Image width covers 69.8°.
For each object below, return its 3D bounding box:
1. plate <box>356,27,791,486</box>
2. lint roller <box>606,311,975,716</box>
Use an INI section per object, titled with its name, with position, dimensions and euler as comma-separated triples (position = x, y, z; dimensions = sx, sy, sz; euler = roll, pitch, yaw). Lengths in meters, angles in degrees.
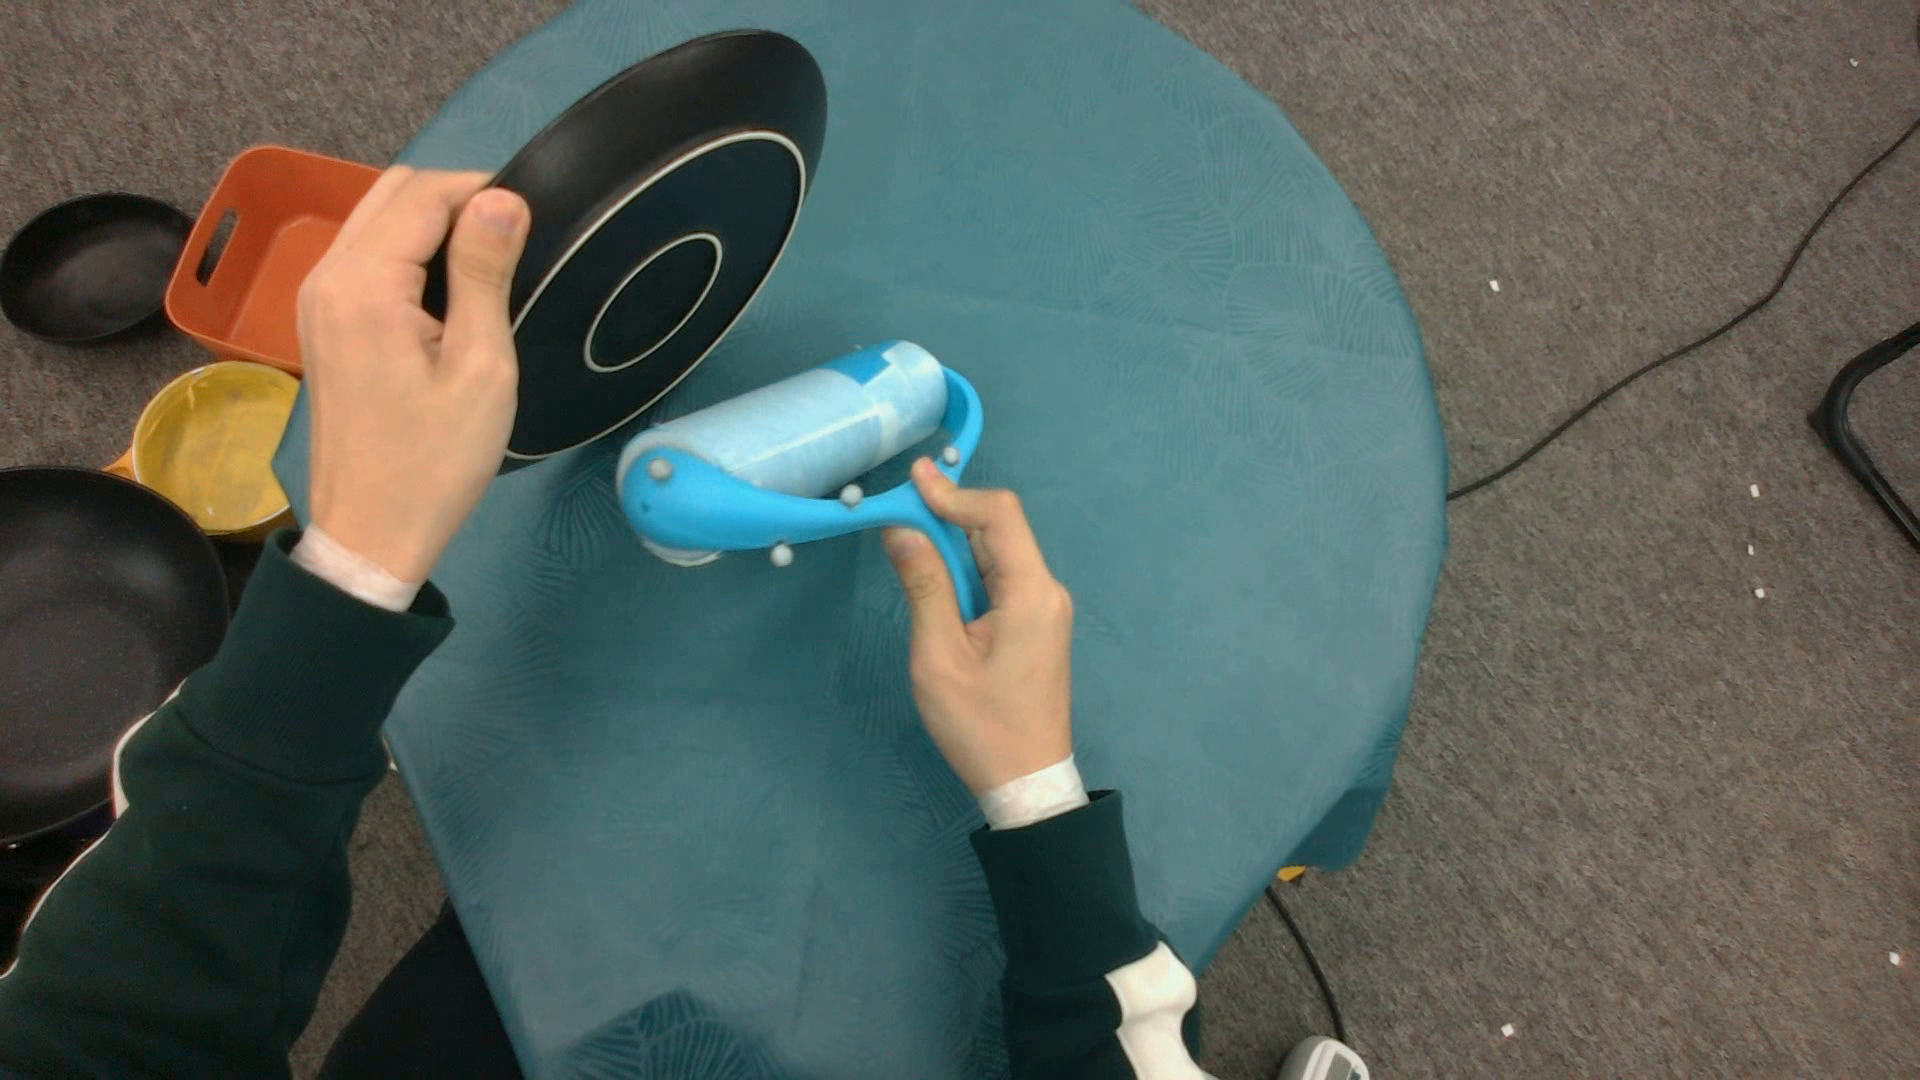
[plate]
position = -0.150, -0.109, 0.590
dimensions = 0.023, 0.243, 0.245
euler = 41, 70, 5
[lint roller]
position = -0.036, -0.009, 0.604
dimensions = 0.180, 0.067, 0.230
euler = 51, 30, -3
